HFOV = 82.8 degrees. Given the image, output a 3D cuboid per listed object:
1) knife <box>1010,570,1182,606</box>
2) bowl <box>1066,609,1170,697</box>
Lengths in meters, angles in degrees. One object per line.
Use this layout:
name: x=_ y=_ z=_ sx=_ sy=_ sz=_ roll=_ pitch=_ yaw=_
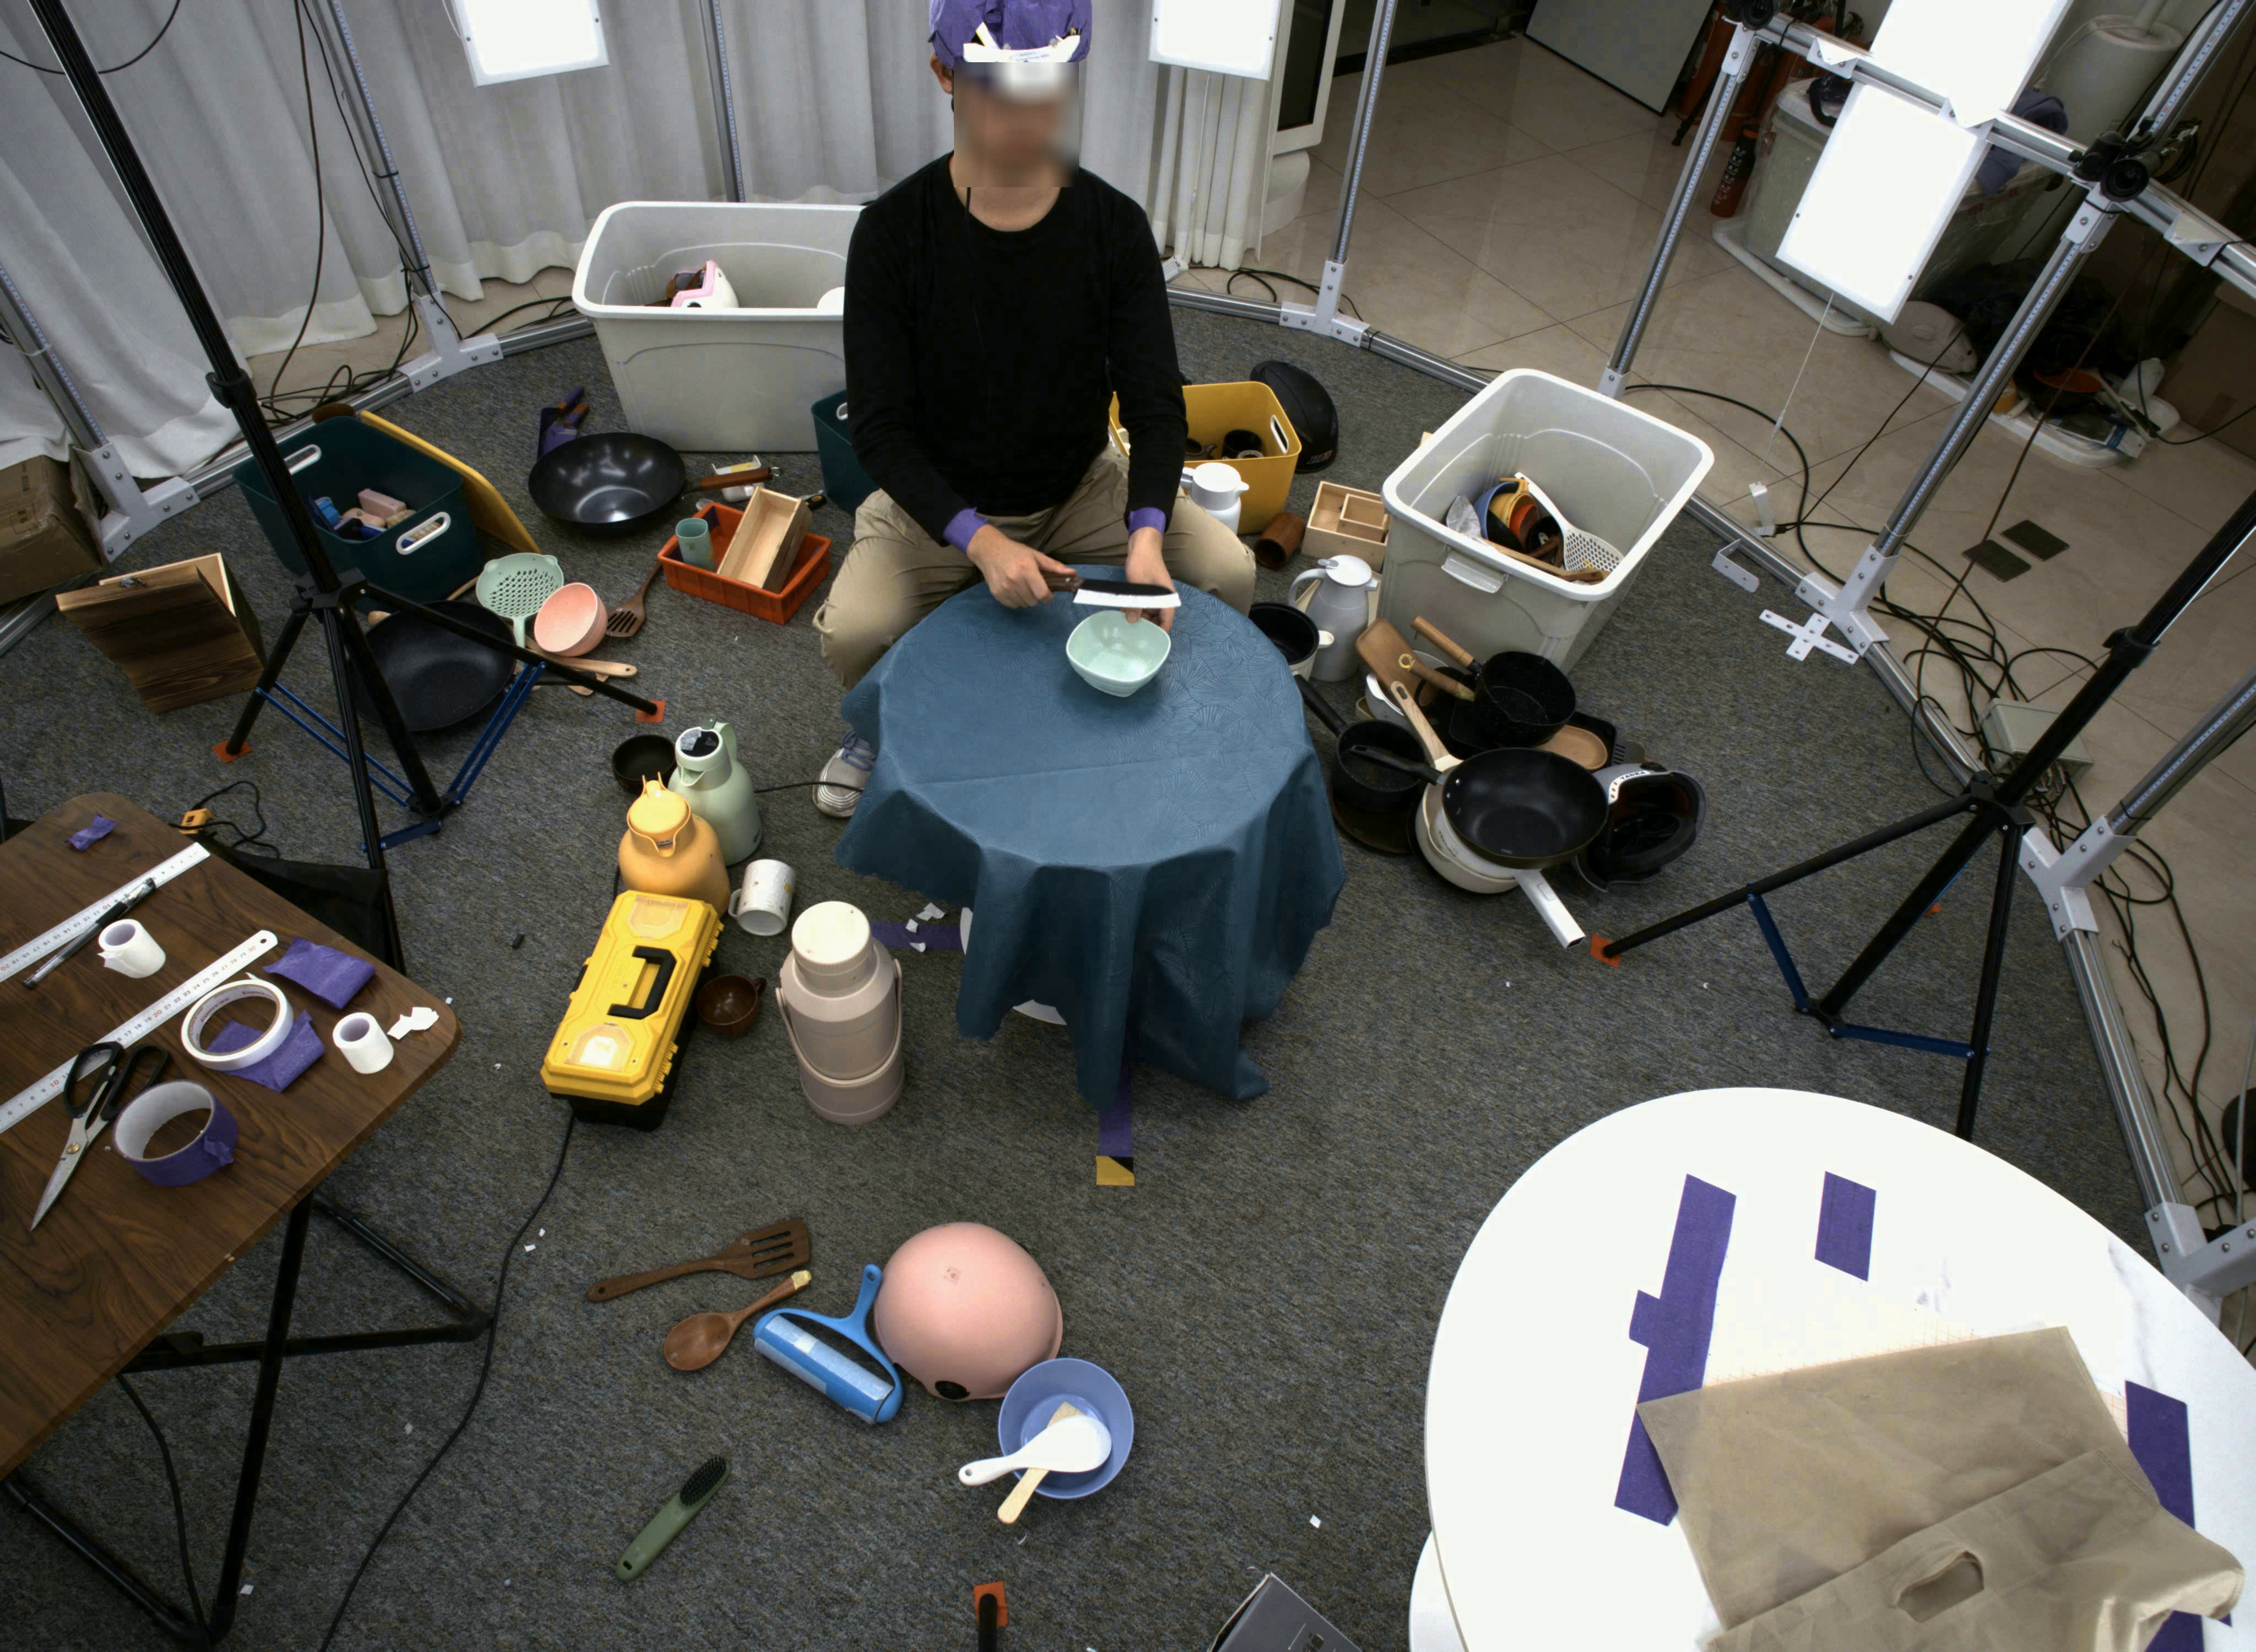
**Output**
knife: x=-0.049 y=-0.341 z=1.847 sx=0.291 sy=0.019 sz=0.051 roll=13 pitch=66 yaw=28
bowl: x=-0.016 y=-0.239 z=1.839 sx=0.151 sy=0.057 sz=0.155 roll=3 pitch=50 yaw=-3
